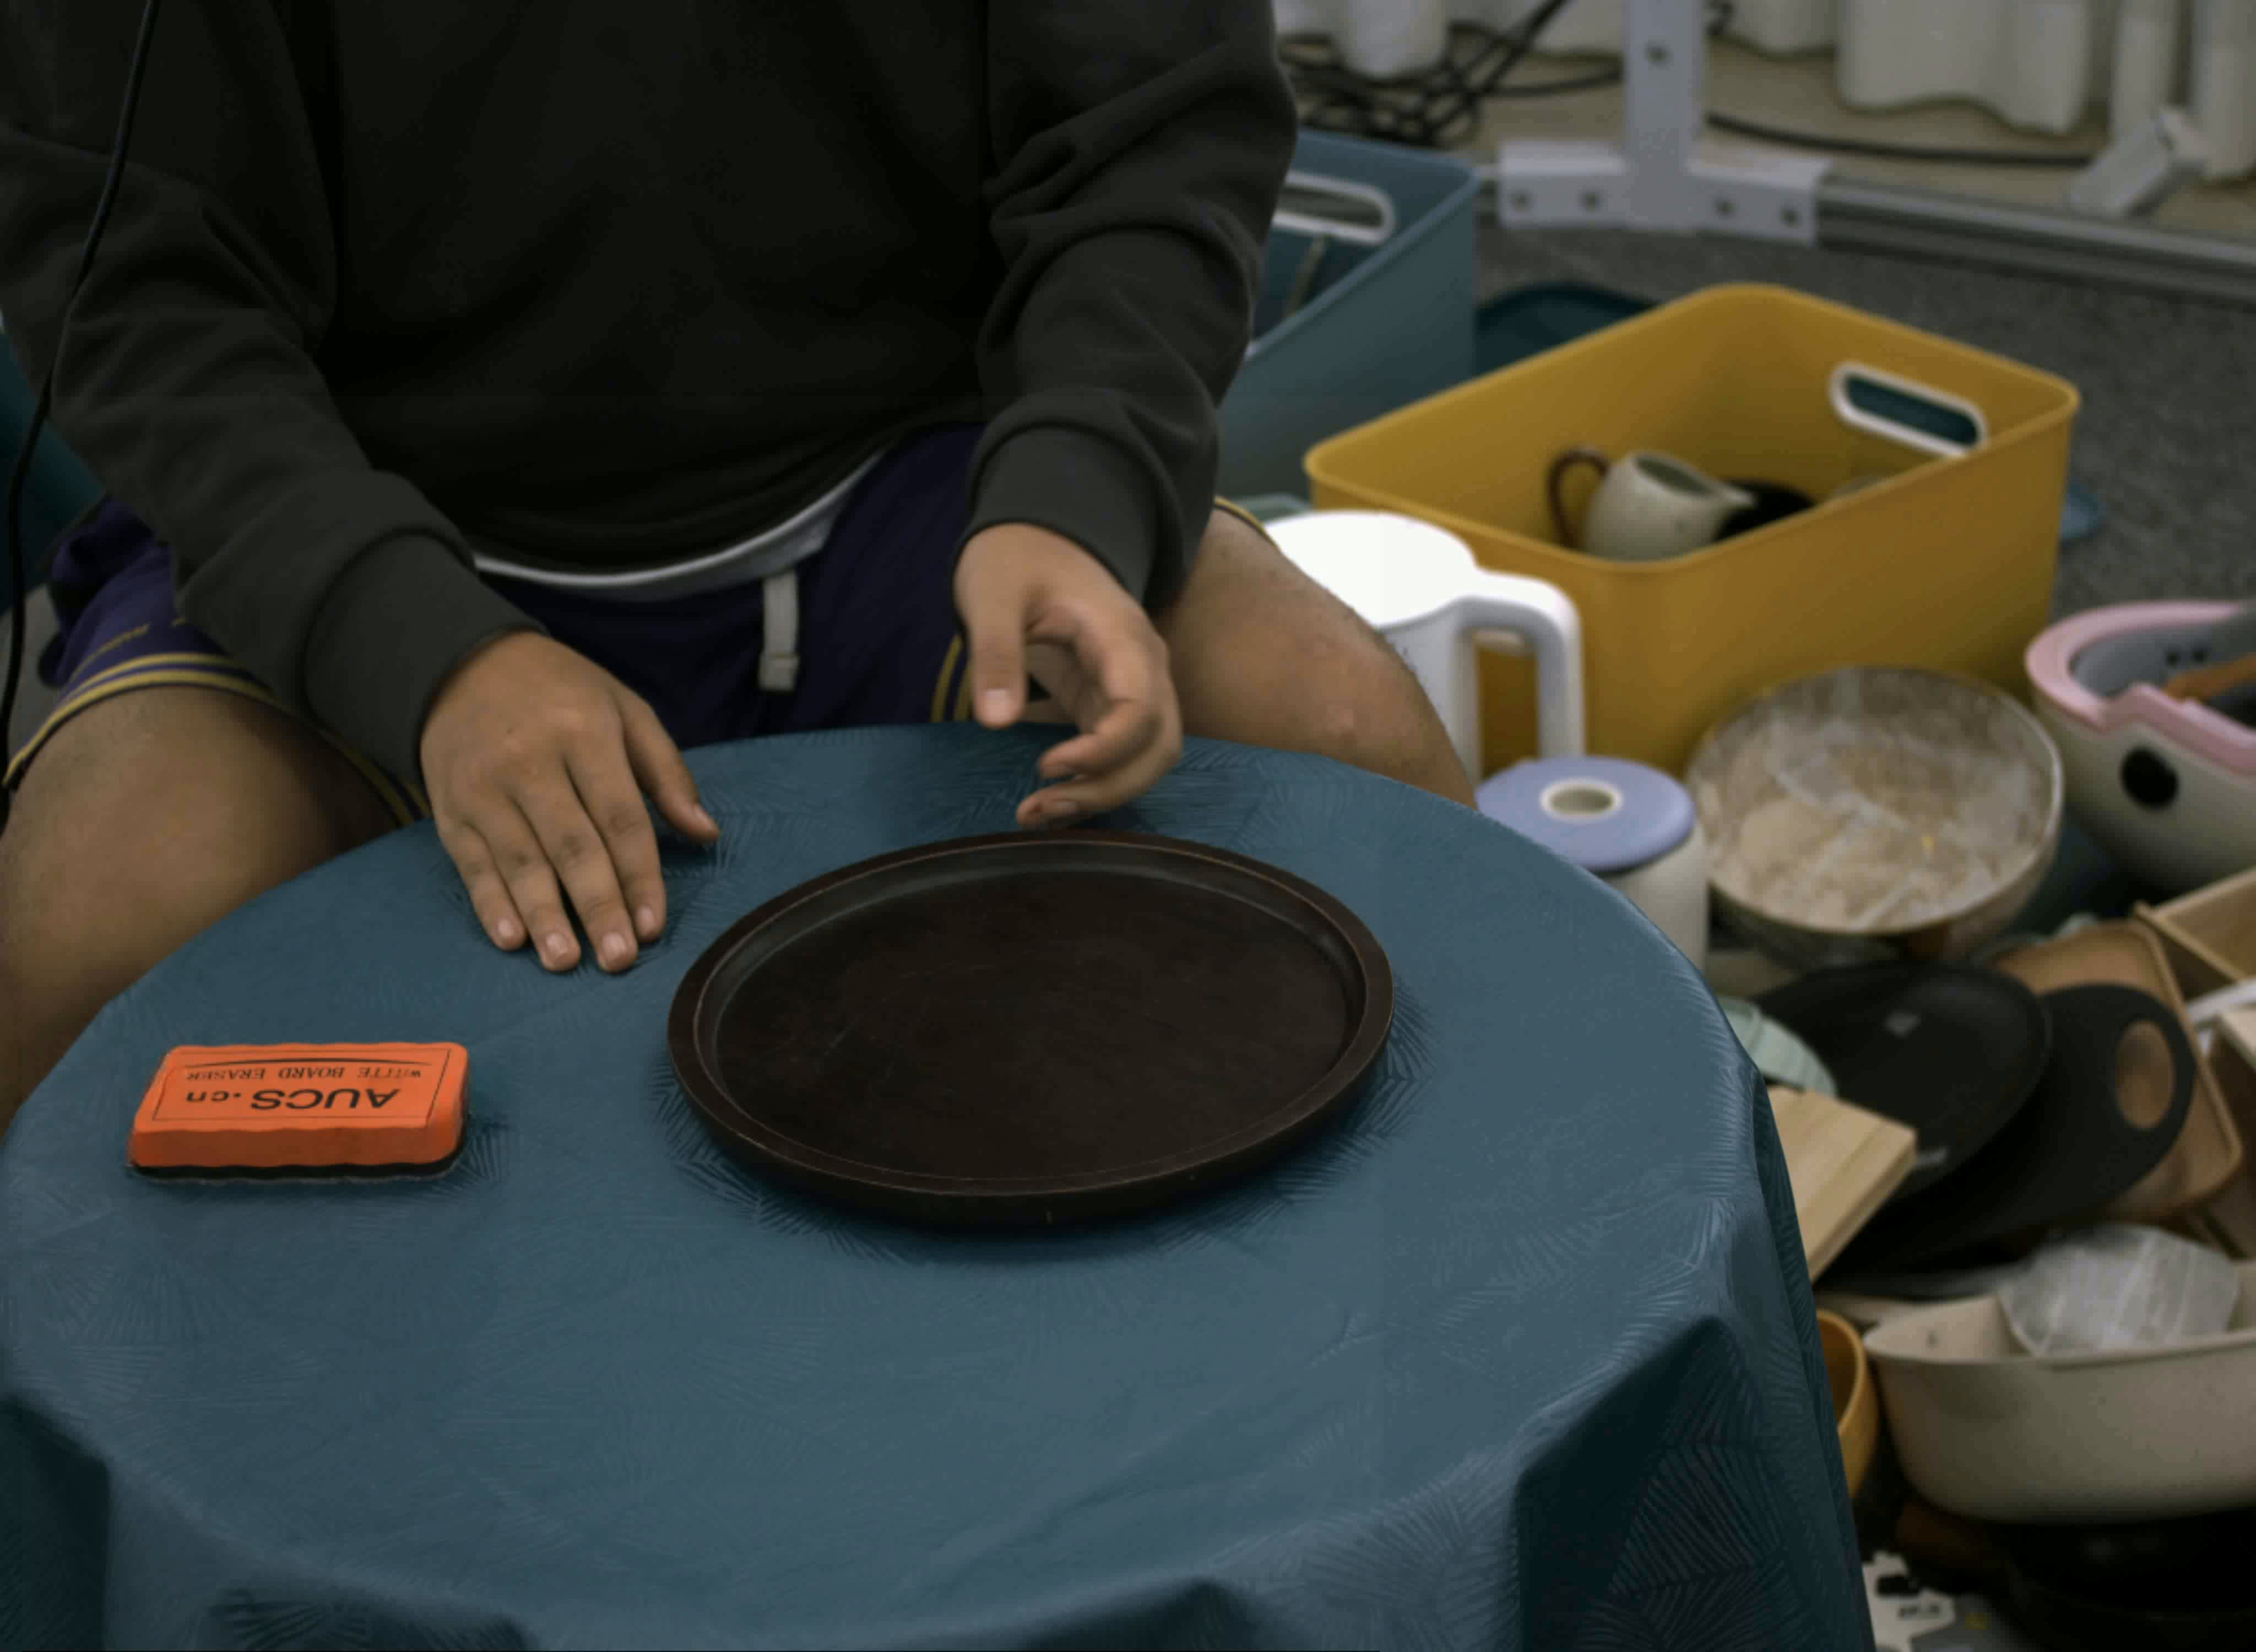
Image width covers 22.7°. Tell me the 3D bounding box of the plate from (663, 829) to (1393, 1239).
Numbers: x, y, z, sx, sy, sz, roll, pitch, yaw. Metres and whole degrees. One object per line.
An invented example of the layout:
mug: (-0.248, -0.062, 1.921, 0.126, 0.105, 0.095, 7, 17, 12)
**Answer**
plate: (-0.034, 0.070, 1.942, 0.253, 0.029, 0.259, -3, 28, 2)

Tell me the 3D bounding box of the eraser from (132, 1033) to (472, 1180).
eraser: (-0.280, 0.096, 1.908, 0.107, 0.022, 0.060, -2, 27, 4)
